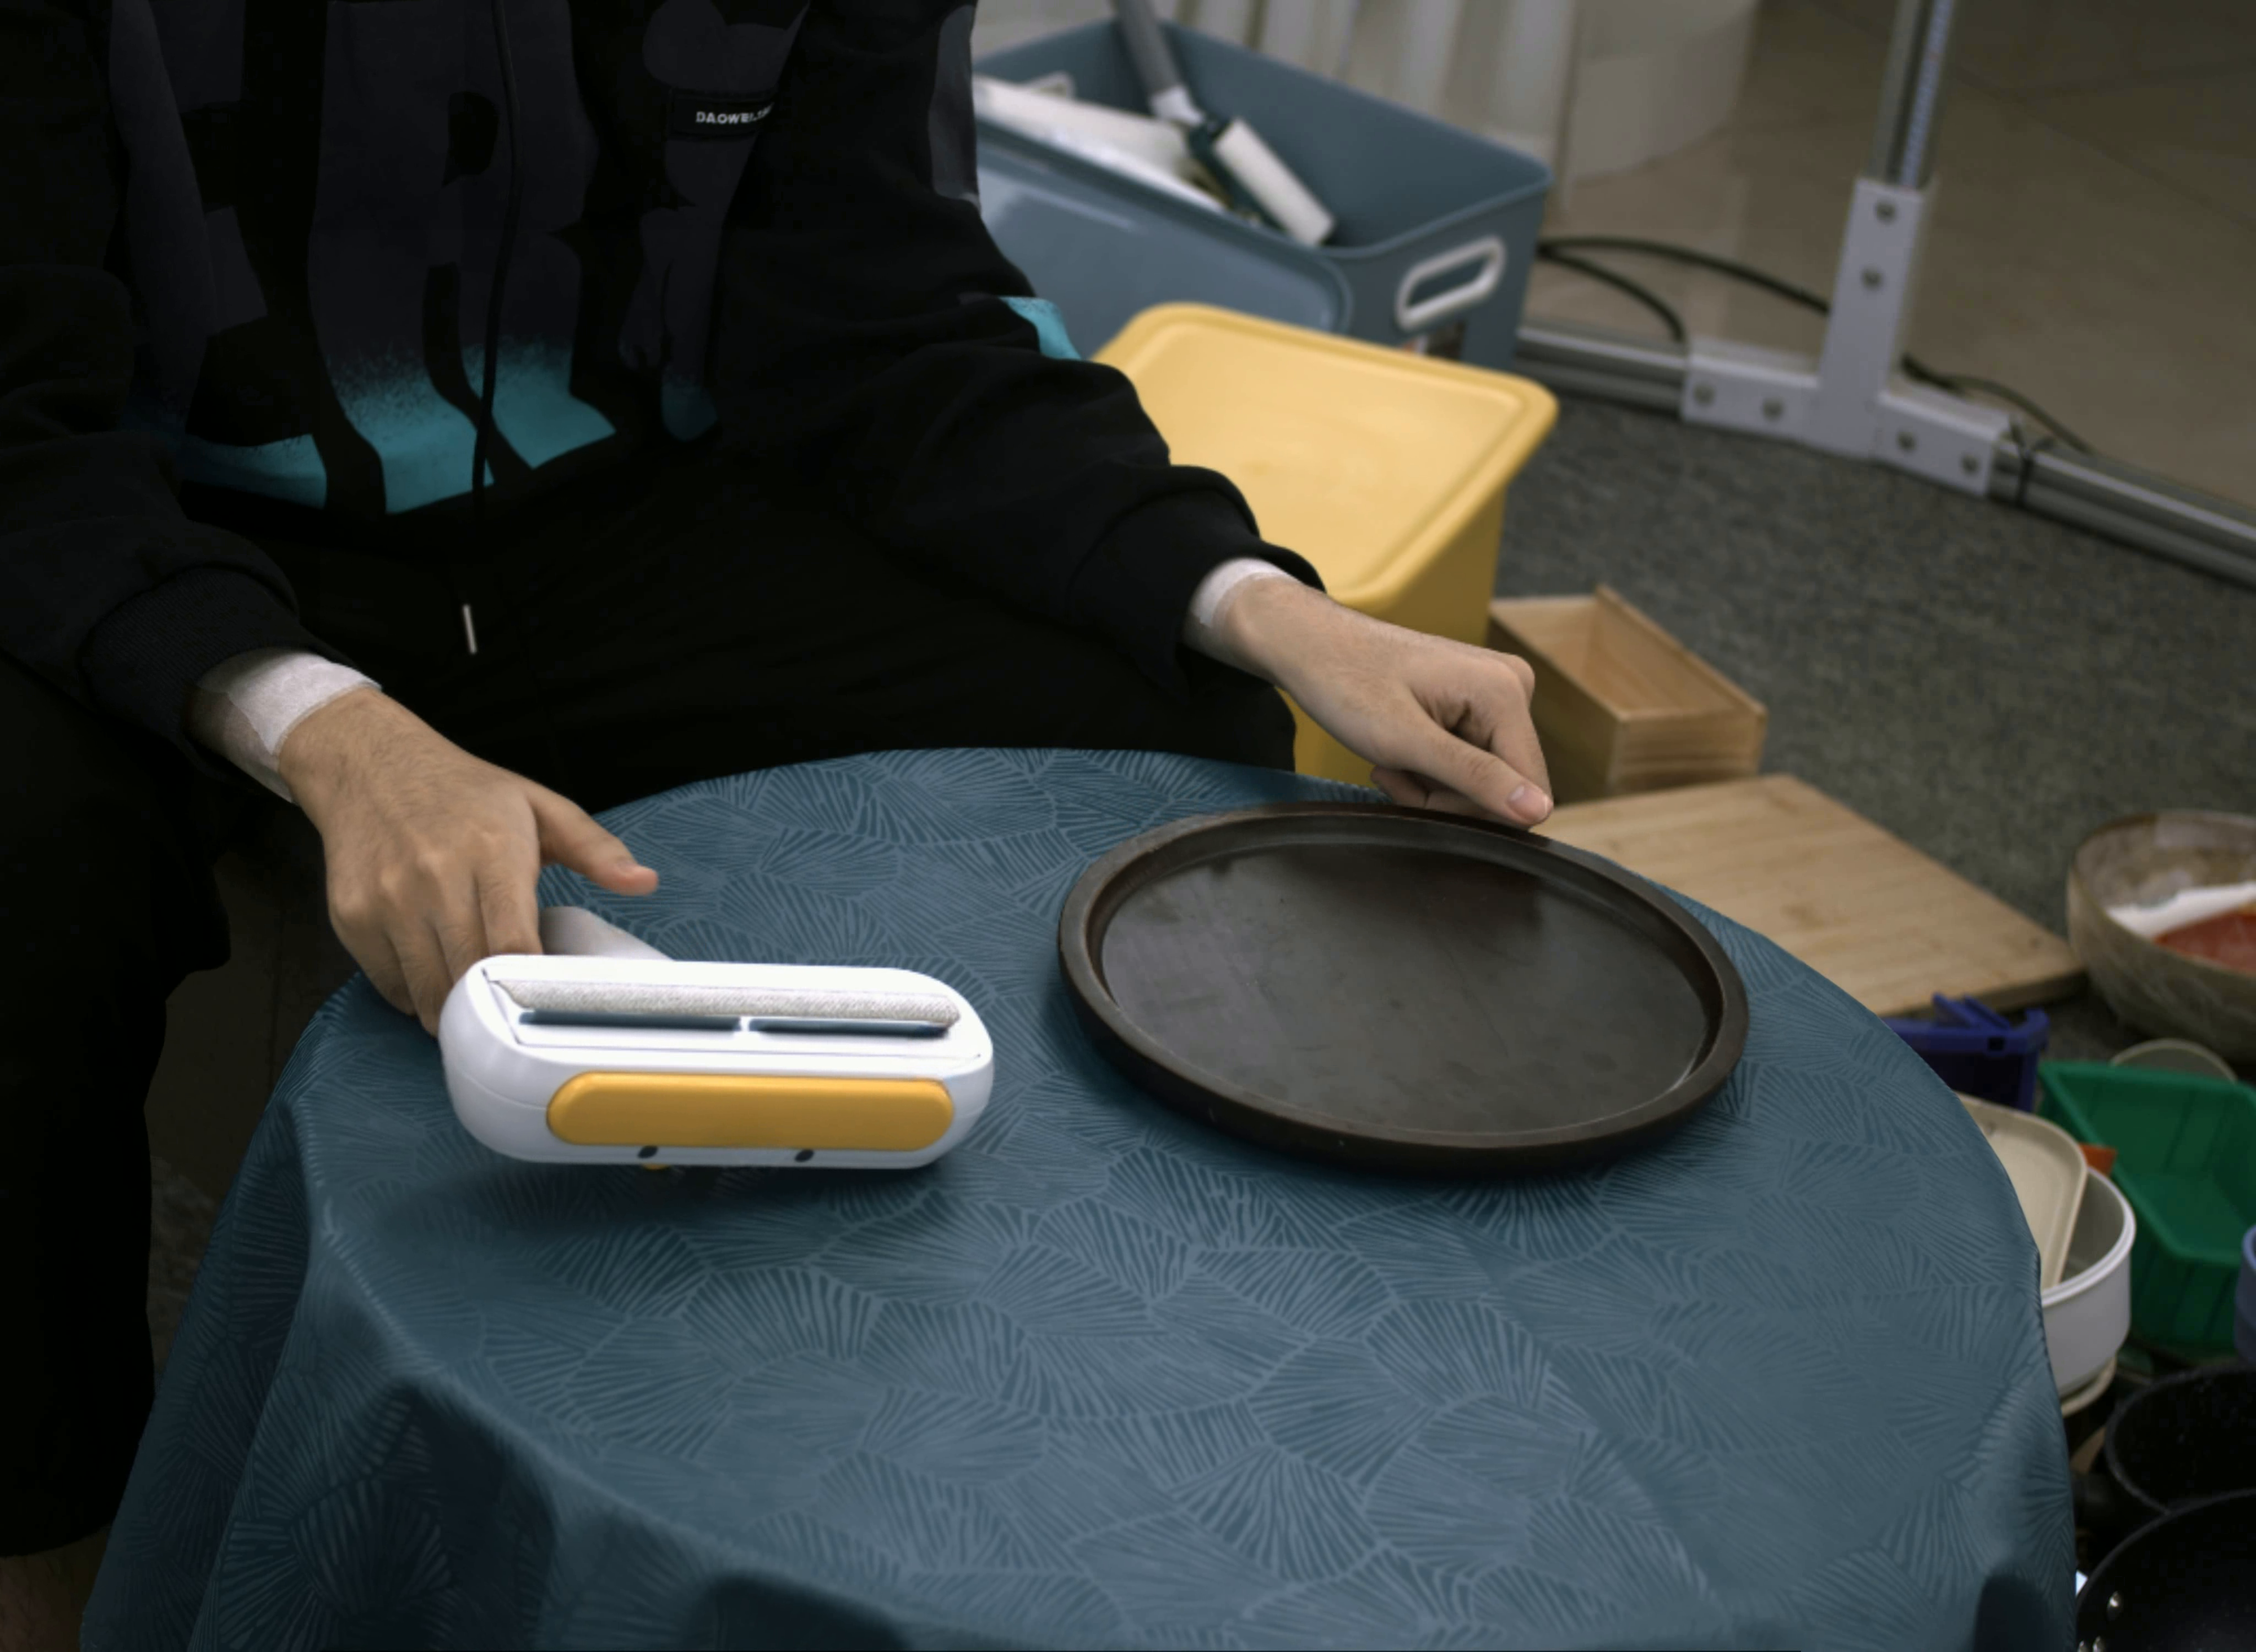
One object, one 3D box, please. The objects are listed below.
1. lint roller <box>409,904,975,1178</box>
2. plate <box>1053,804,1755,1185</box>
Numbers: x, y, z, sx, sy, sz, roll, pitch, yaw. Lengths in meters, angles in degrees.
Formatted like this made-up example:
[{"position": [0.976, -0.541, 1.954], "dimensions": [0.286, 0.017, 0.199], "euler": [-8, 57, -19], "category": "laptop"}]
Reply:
[{"position": [-0.165, 0.060, 1.813], "dimensions": [0.191, 0.074, 0.194], "euler": [1, 25, -23], "category": "lint roller"}, {"position": [0.098, 0.059, 1.922], "dimensions": [0.254, 0.029, 0.256], "euler": [4, 26, -2], "category": "plate"}]
